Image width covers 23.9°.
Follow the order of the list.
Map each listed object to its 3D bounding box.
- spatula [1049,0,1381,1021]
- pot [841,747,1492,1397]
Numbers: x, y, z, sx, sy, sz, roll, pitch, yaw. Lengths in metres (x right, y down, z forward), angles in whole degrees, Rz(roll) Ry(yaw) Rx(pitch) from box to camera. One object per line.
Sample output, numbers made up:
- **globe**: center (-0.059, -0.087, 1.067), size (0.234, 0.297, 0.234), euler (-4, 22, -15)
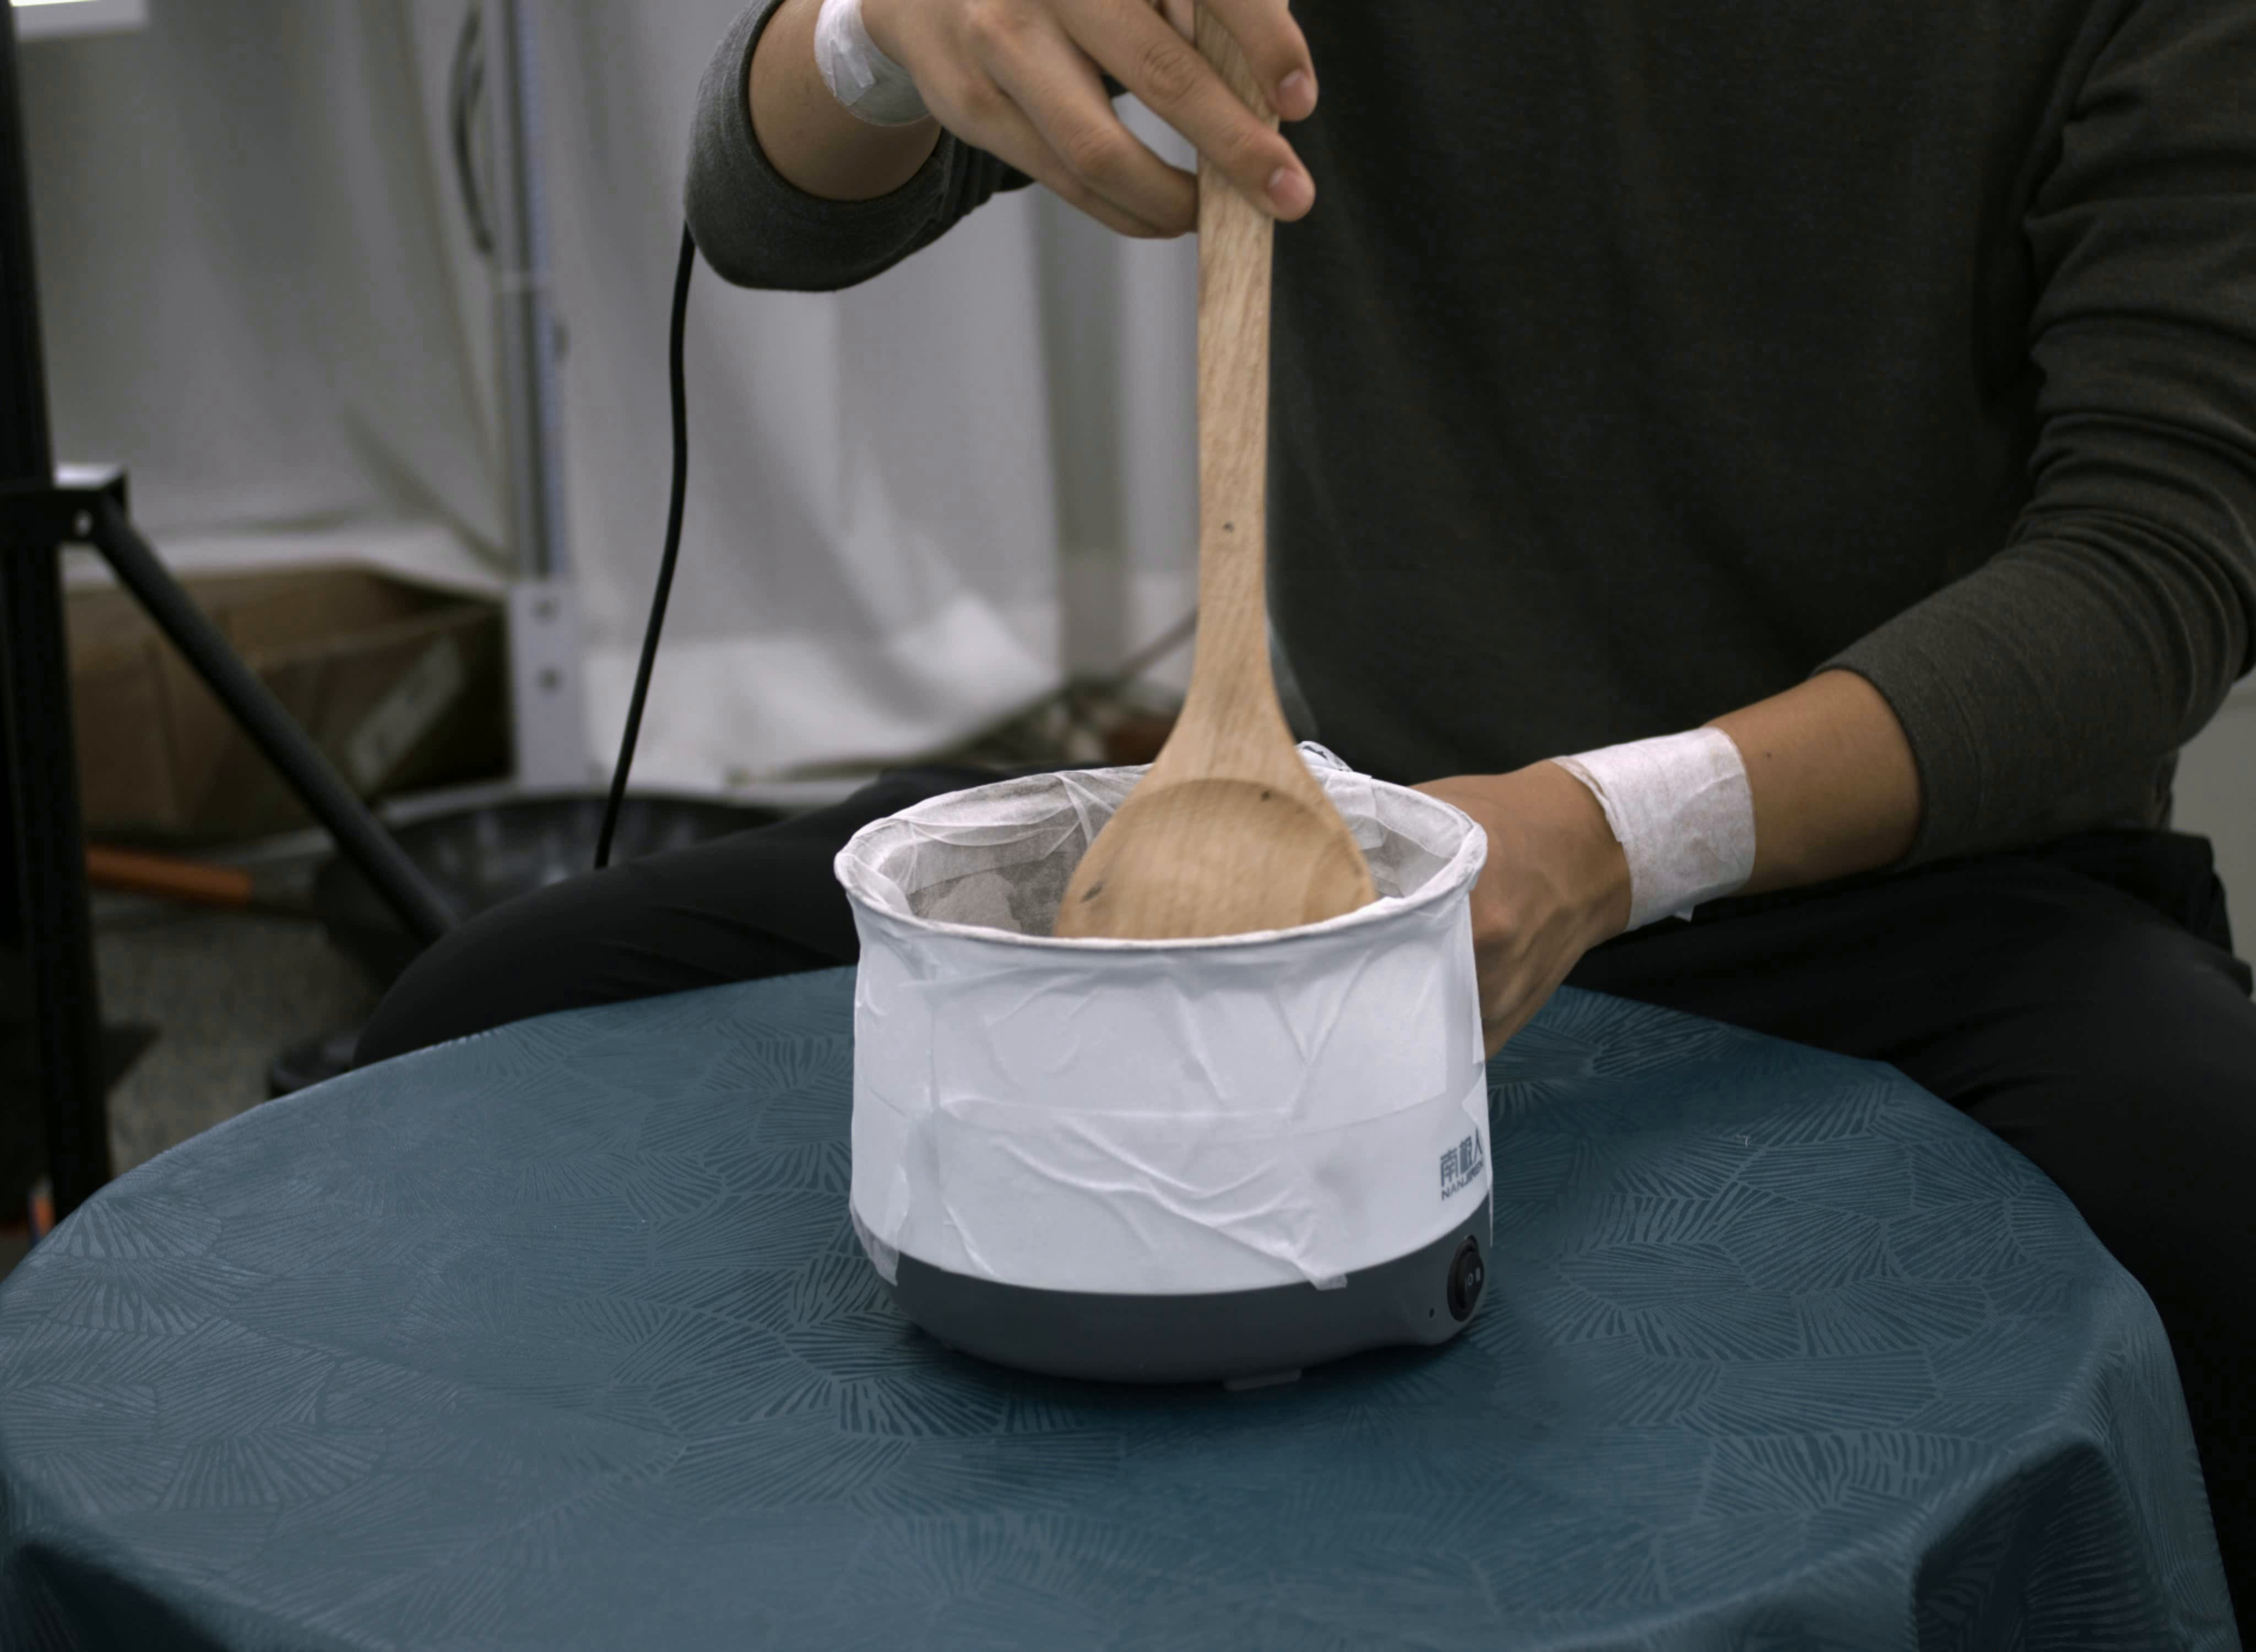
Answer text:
- **spatula**: center (0.025, -0.116, 1.411), size (0.097, 0.392, 0.018), euler (2, 3, 20)
- **pot**: center (0.023, 0.061, 1.478), size (0.181, 0.136, 0.230), euler (5, 16, 25)
